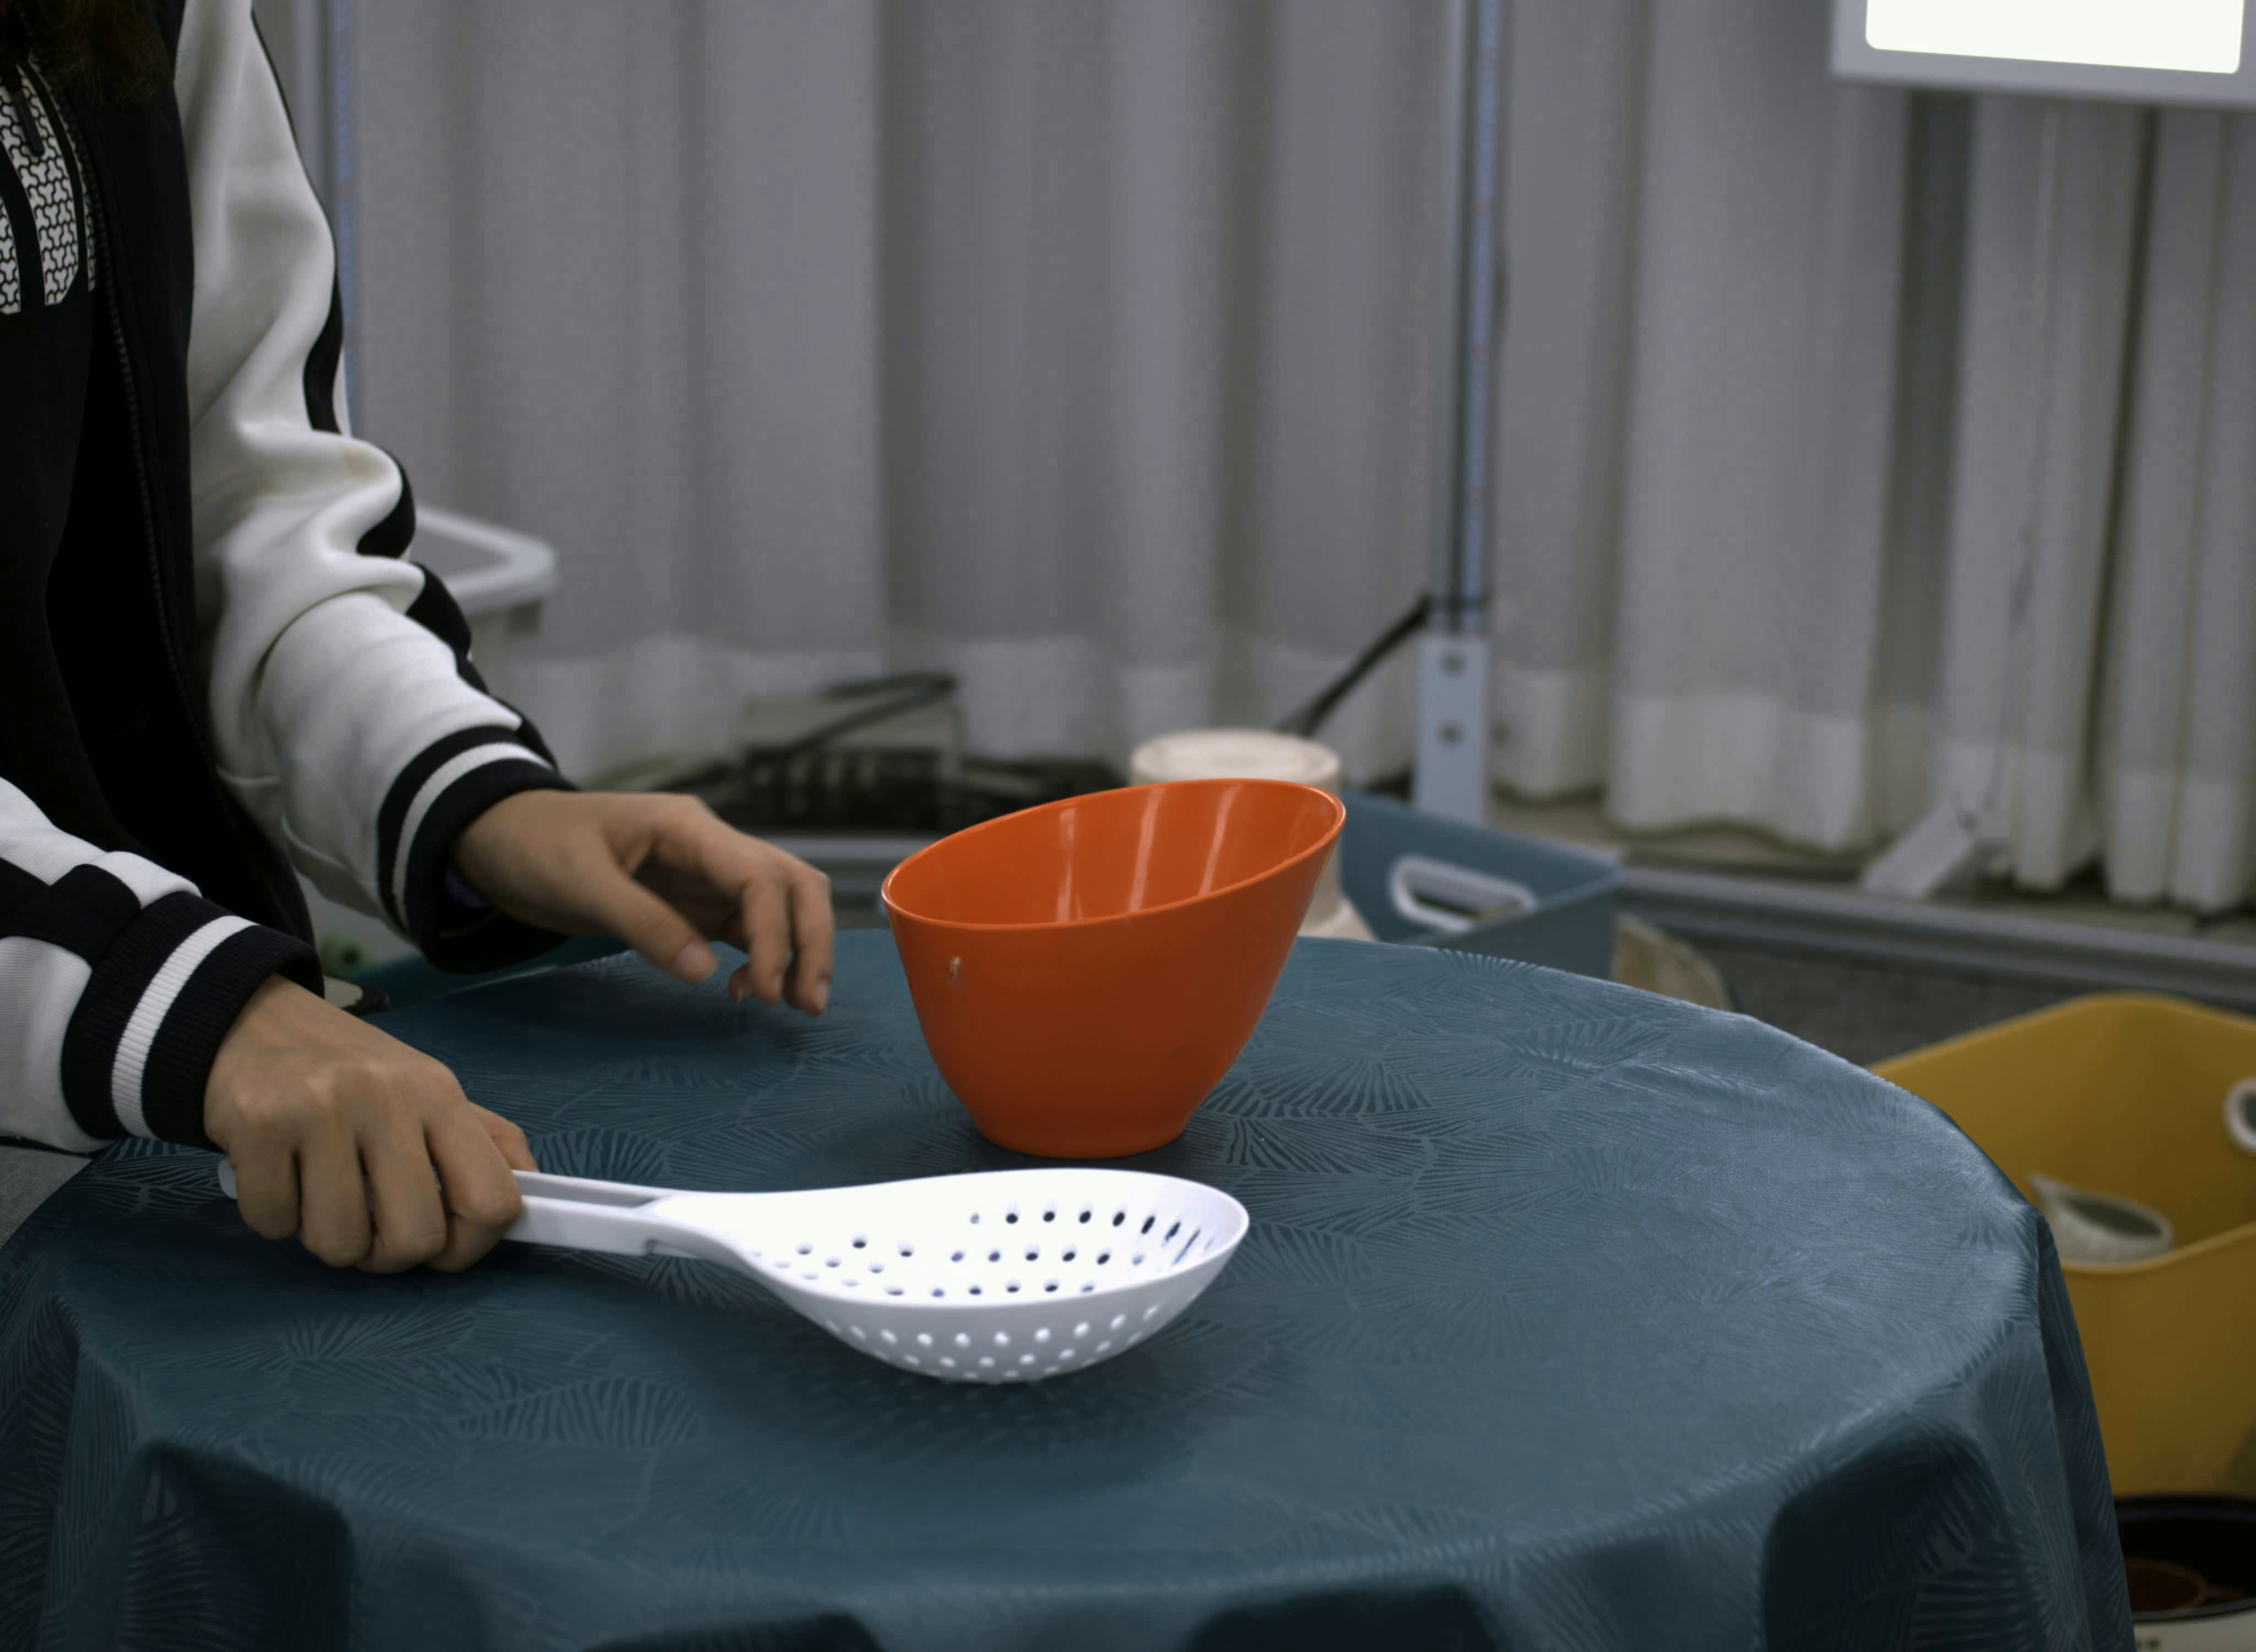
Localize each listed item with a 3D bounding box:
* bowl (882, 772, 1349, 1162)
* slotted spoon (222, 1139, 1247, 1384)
[{"bbox_3d":[-0.004,0.047,1.665,0.147,0.105,0.147,0,19,1],"label":"bowl"},{"bbox_3d":[-0.125,0.115,1.522,0.345,0.046,0.136,9,15,31],"label":"slotted spoon"}]
